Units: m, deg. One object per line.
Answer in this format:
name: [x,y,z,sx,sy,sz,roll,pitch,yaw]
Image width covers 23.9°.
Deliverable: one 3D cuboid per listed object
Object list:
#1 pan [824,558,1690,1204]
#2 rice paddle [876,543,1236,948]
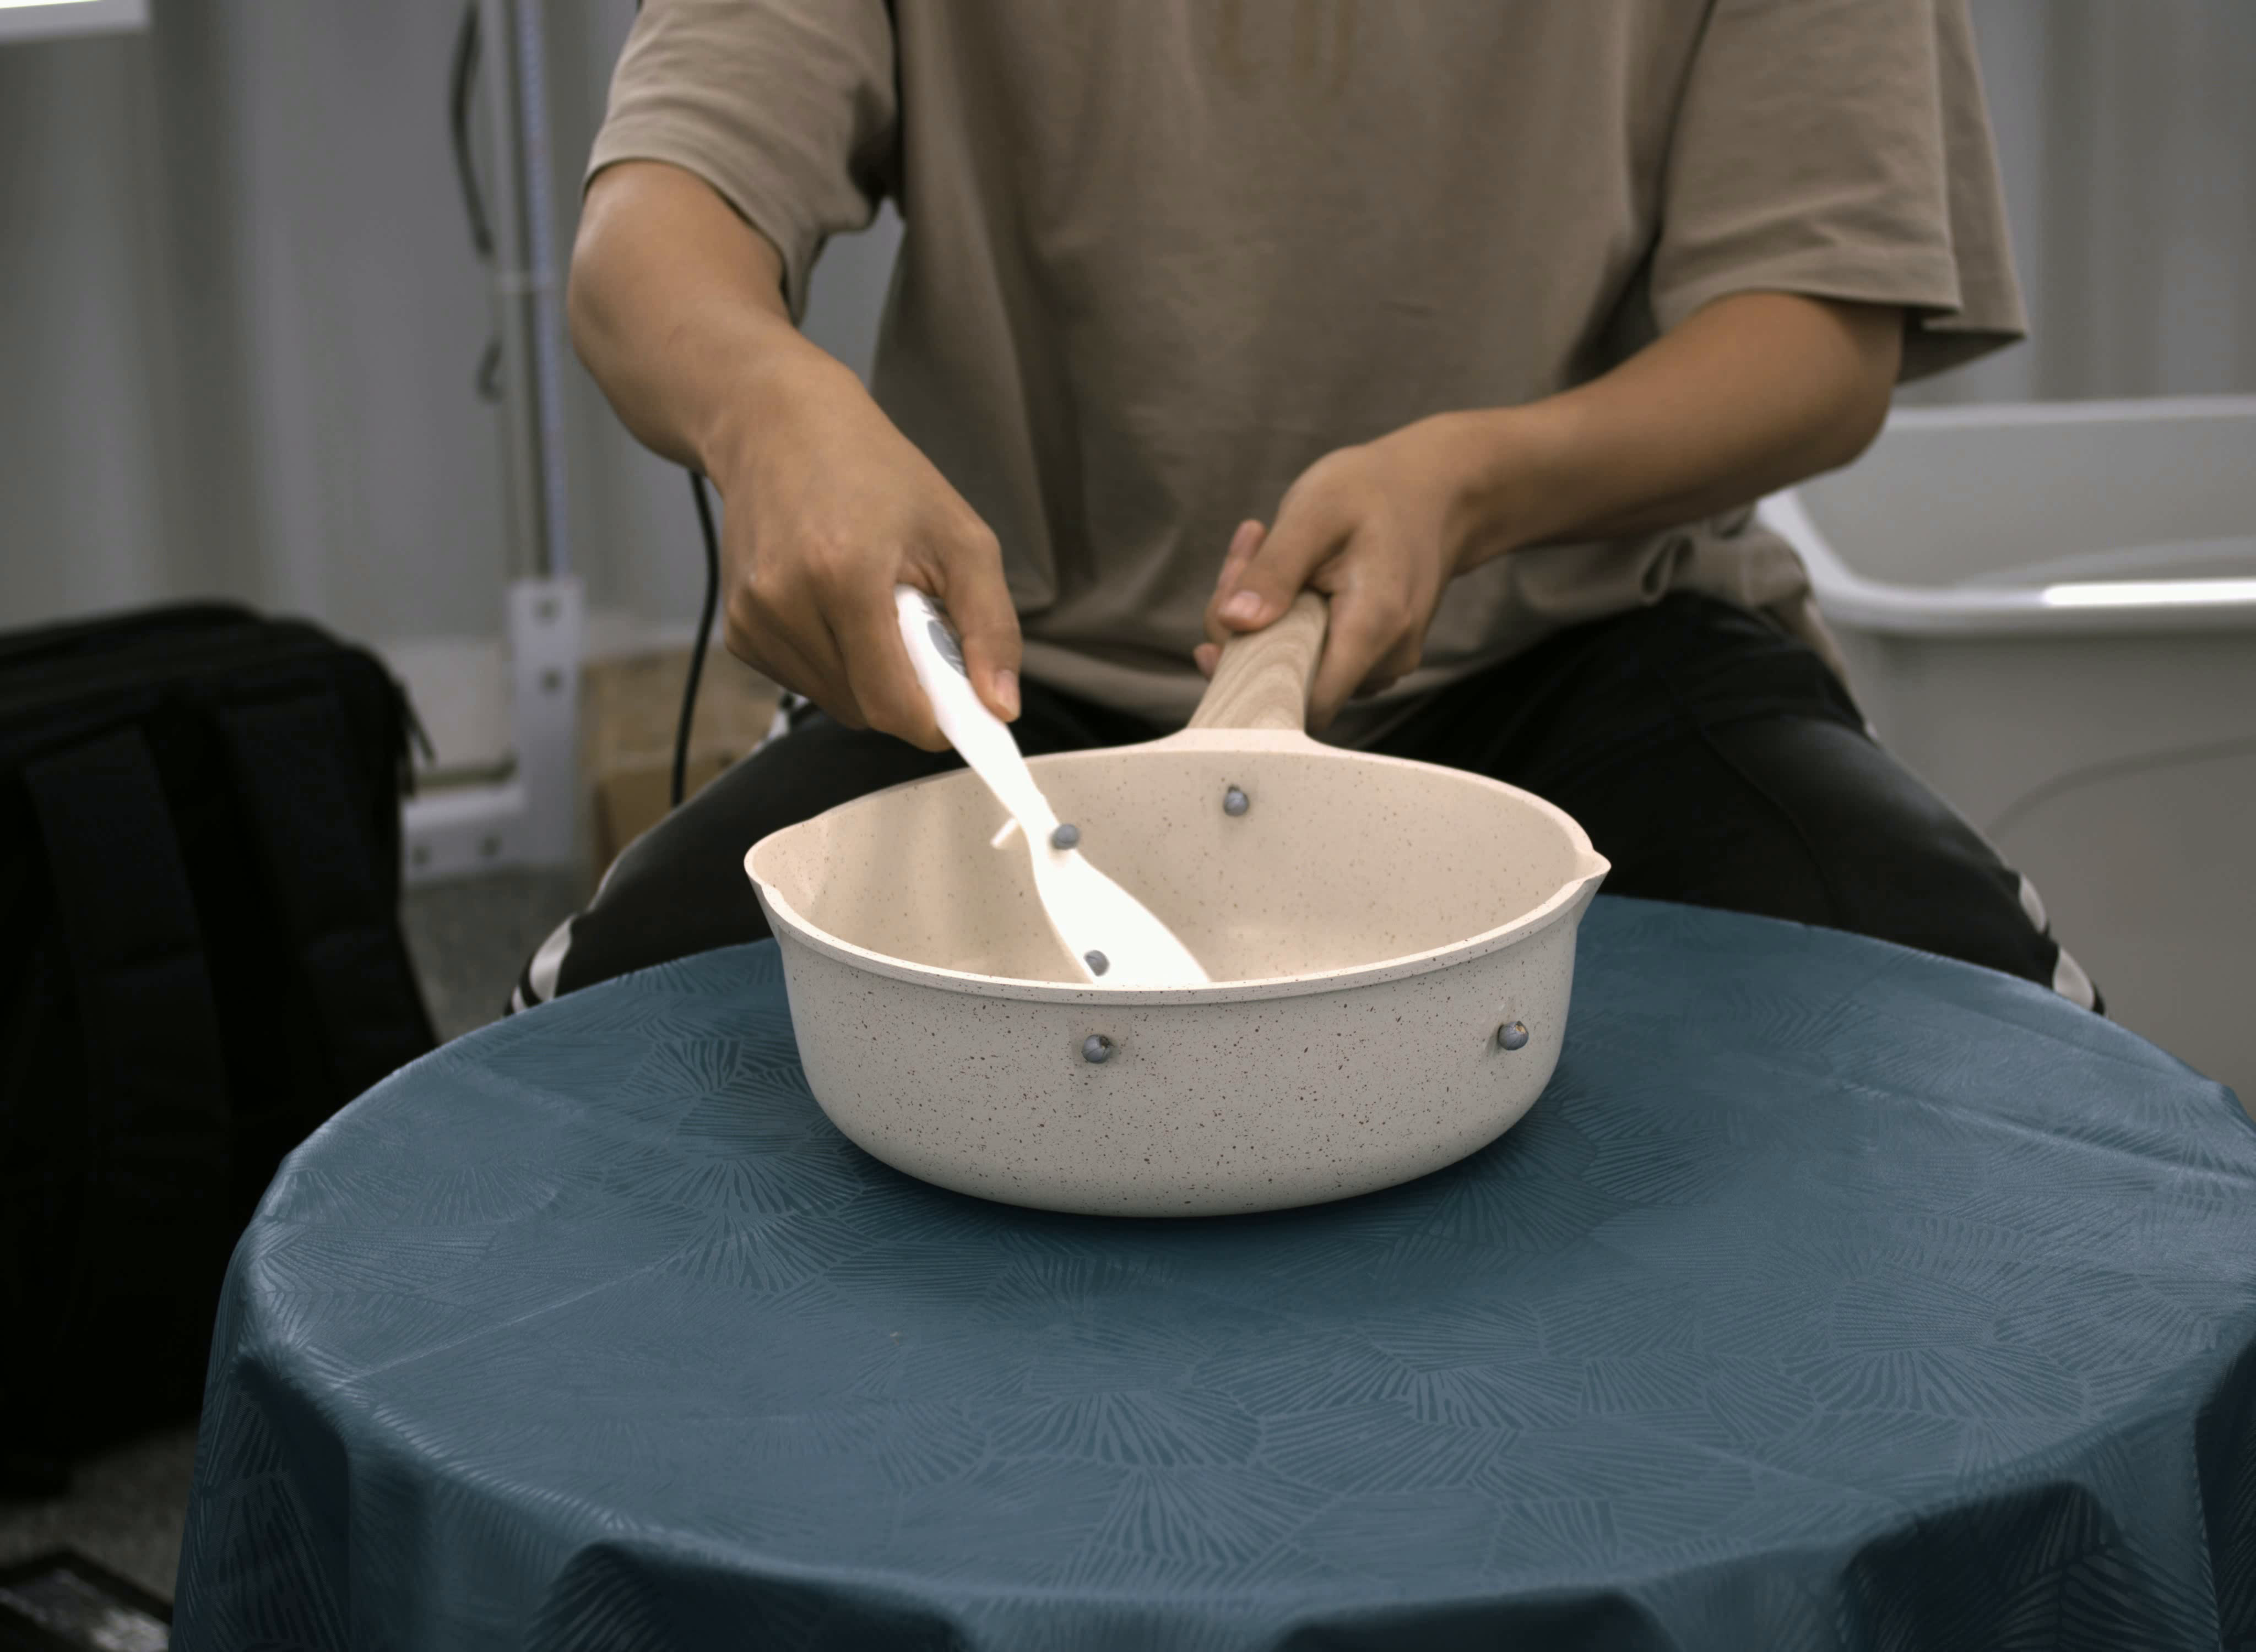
pan: [0.054,0.013,1.693,0.264,0.102,0.433,-1,16,10]
rice paddle: [-0.011,-0.003,1.660,0.208,0.029,0.067,54,22,23]
